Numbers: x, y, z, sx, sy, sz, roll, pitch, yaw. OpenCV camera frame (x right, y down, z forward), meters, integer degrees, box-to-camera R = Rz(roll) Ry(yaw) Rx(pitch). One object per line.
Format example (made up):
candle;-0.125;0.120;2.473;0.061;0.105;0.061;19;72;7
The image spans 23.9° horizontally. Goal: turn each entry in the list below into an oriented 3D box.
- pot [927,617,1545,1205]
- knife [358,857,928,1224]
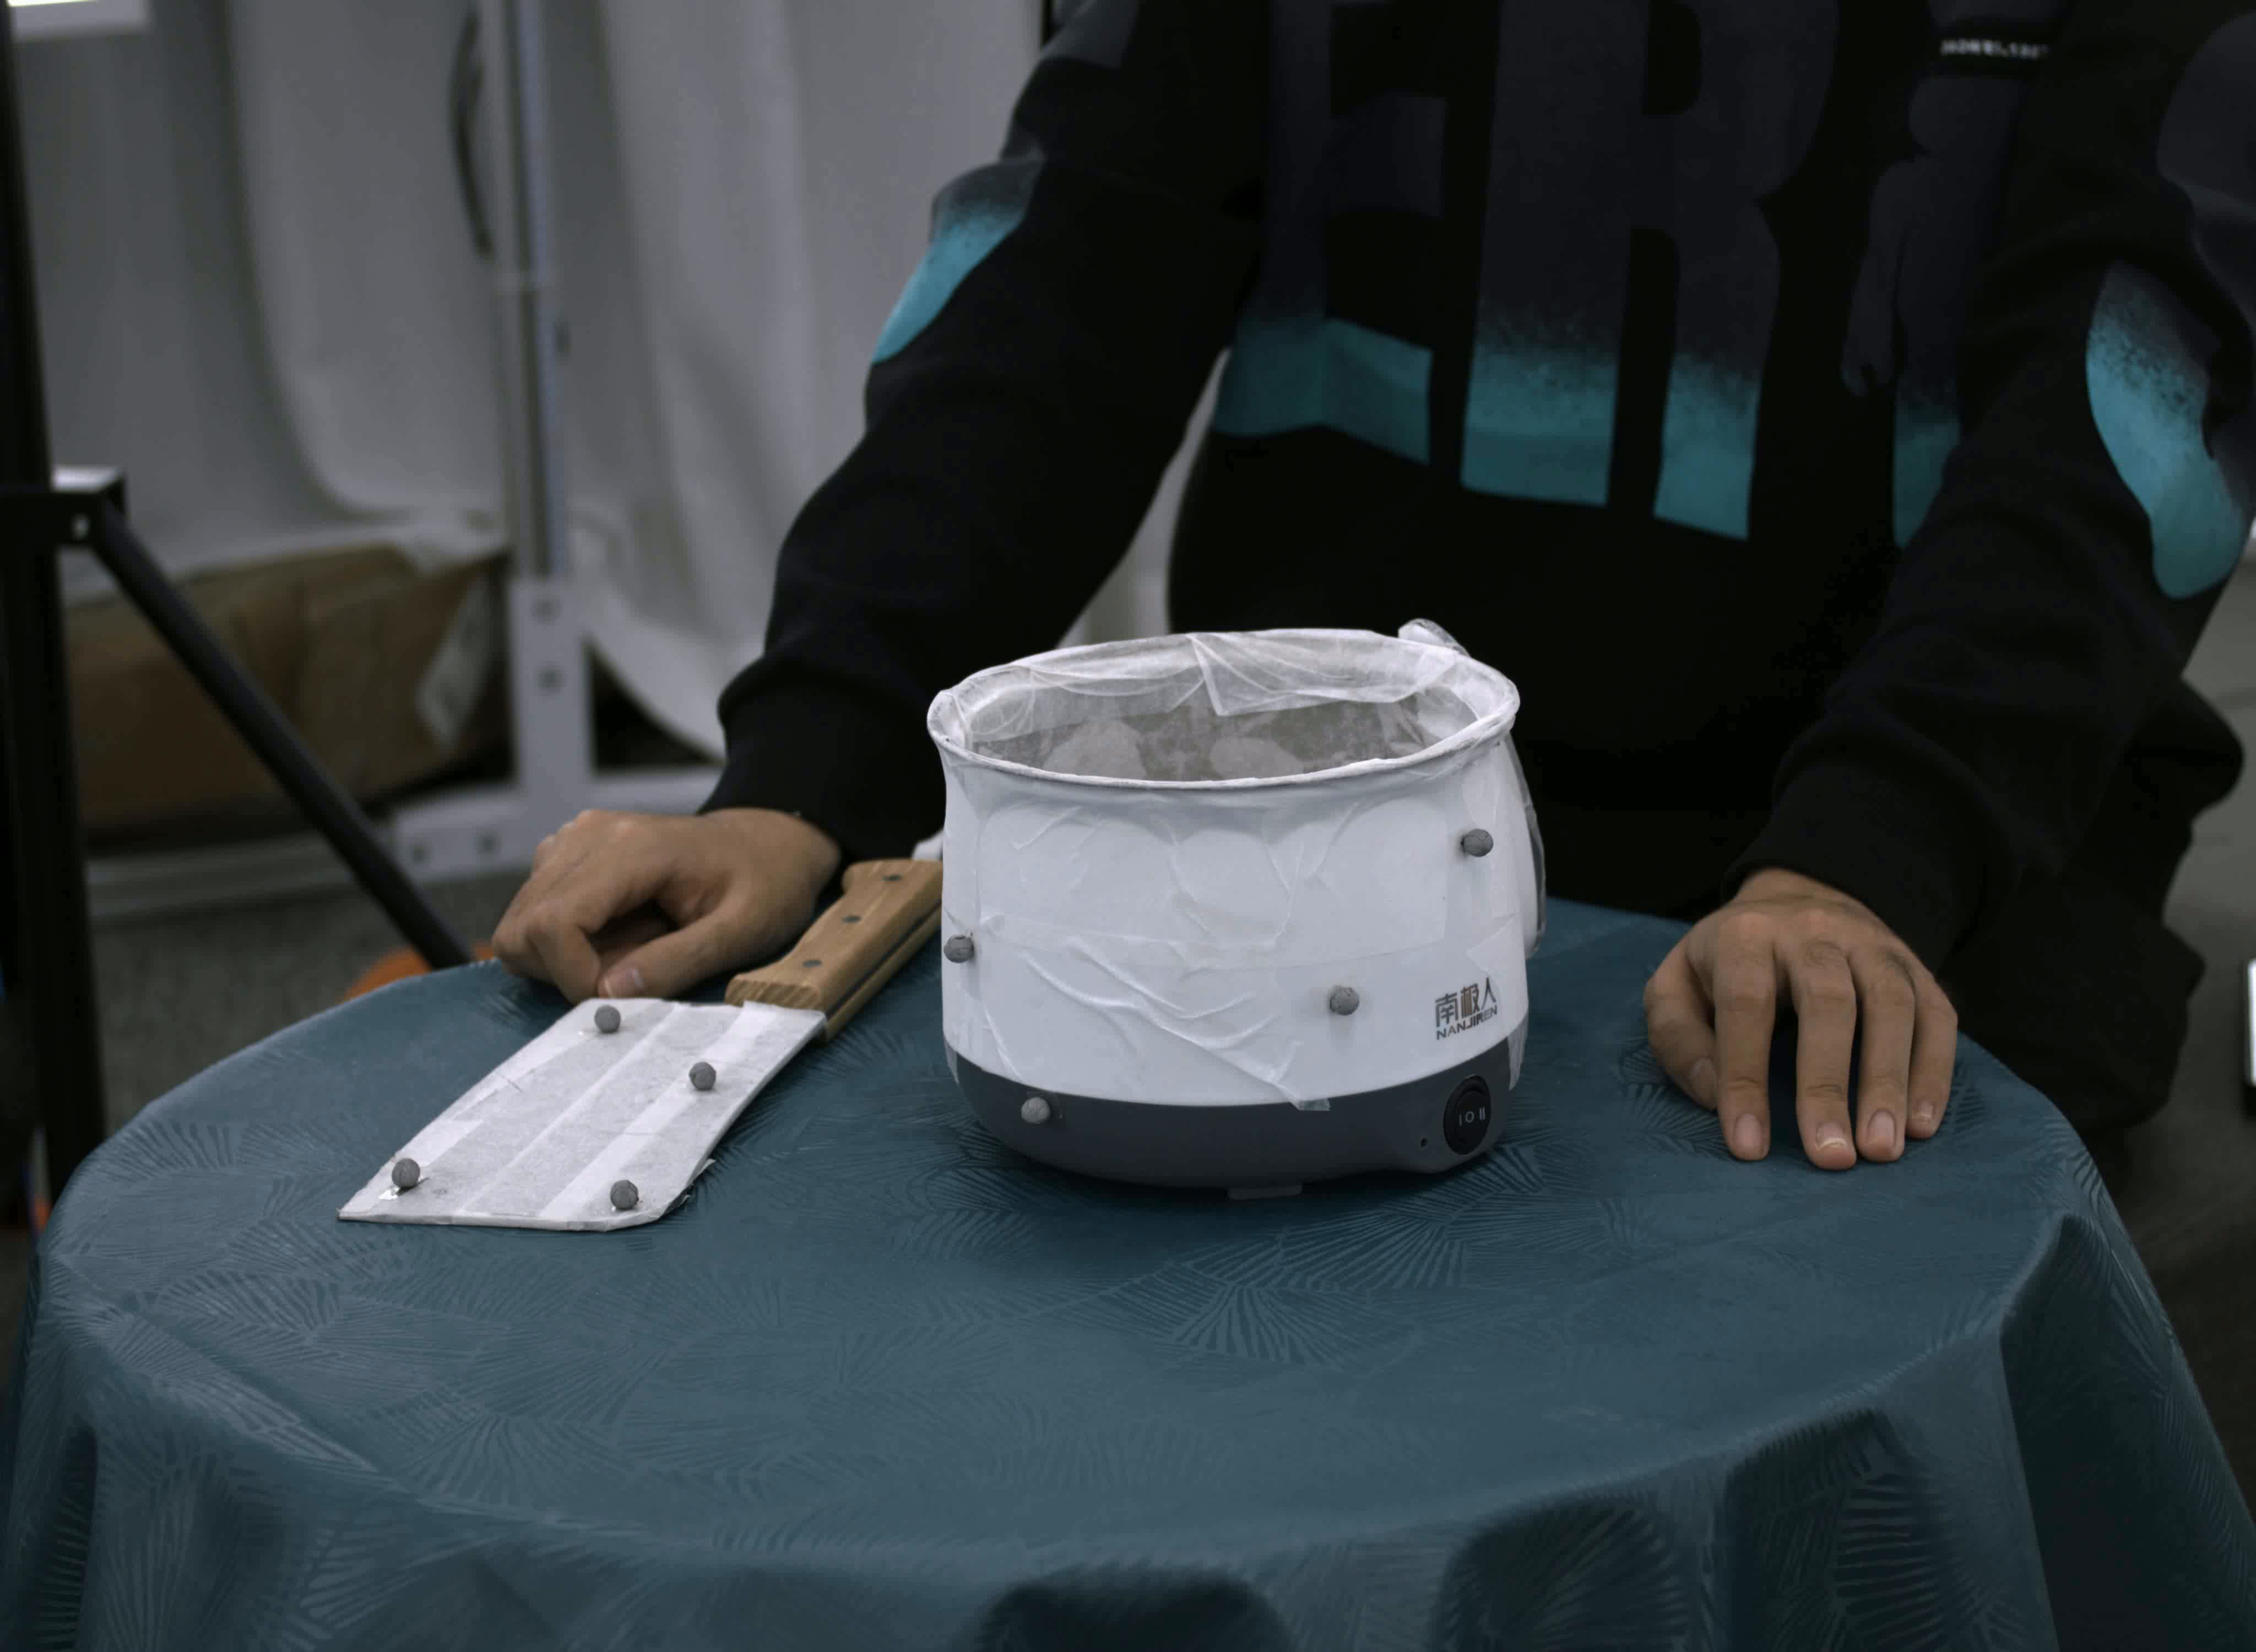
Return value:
pot;0.048;0.019;1.615;0.182;0.136;0.229;11;21;38
knife;-0.135;0.068;1.688;0.115;0.022;0.311;3;20;22
